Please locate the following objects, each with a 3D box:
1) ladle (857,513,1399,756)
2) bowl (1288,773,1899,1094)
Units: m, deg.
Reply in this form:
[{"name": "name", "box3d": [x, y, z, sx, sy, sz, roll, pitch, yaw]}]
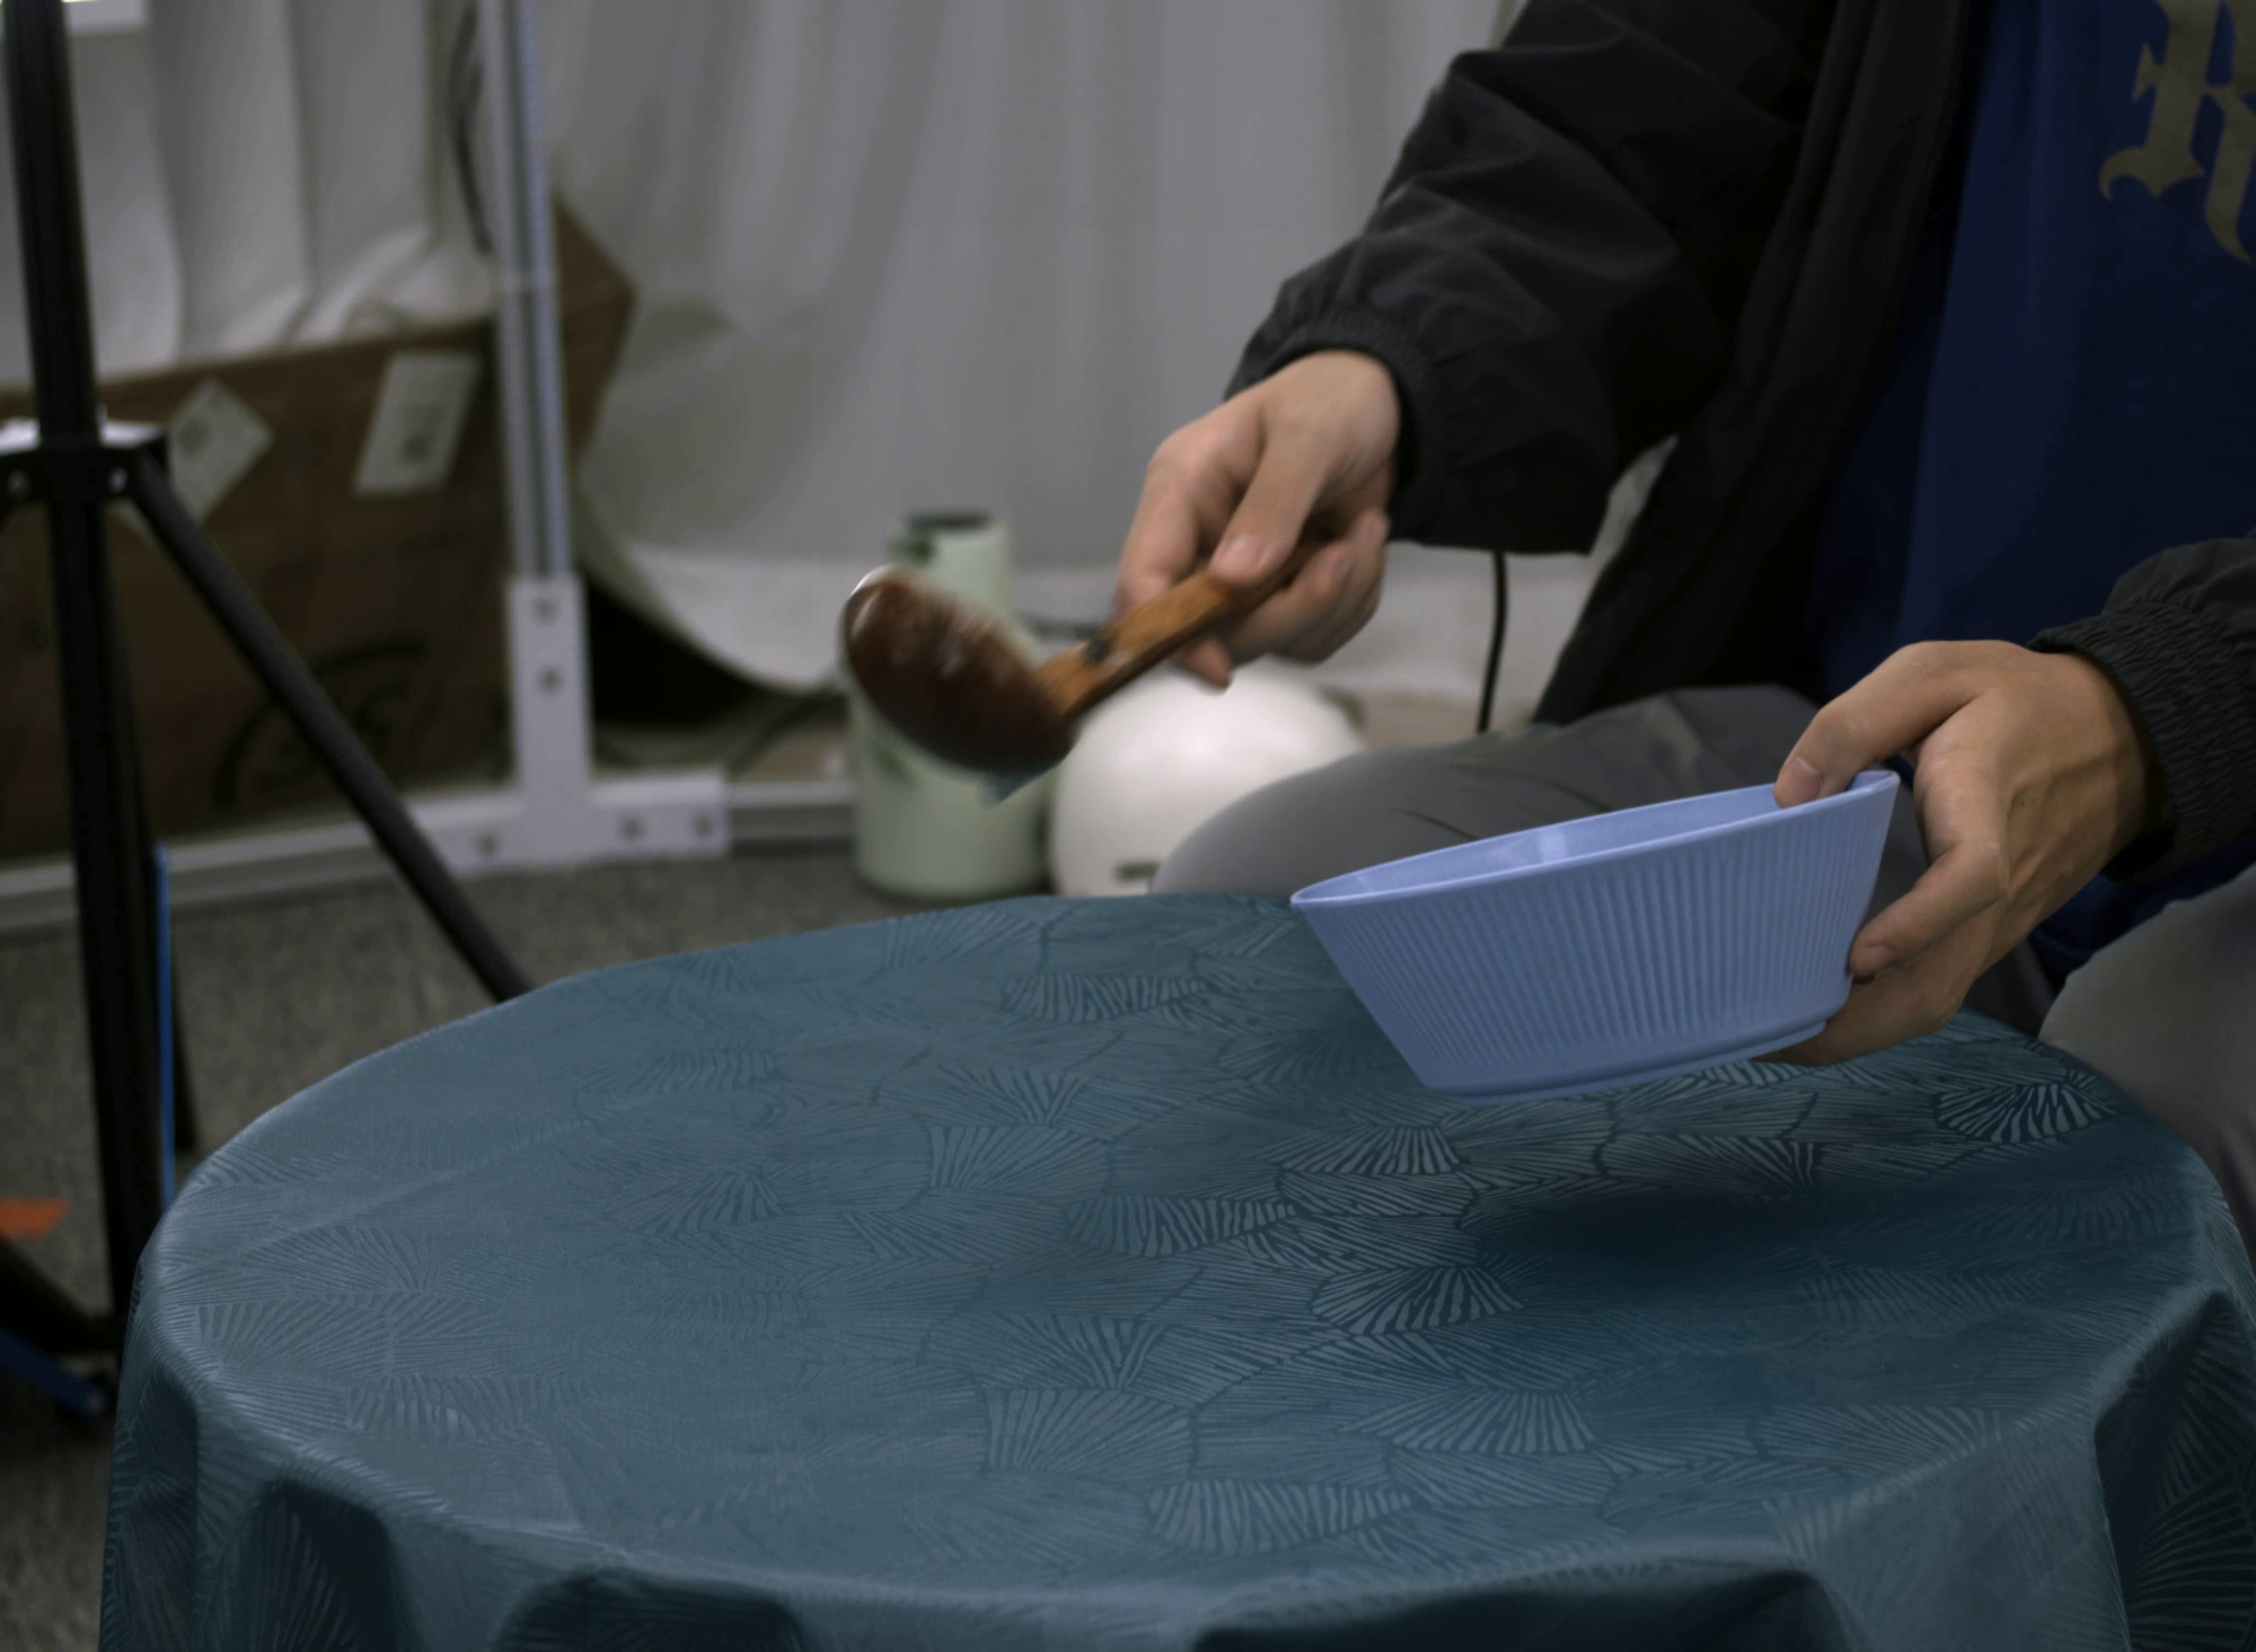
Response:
[{"name": "ladle", "box3d": [0.013, -0.082, 1.644, 0.083, 0.077, 0.269, 38, 36, 20]}, {"name": "bowl", "box3d": [0.137, 0.033, 1.503, 0.175, 0.070, 0.176, -11, 2, -1]}]
